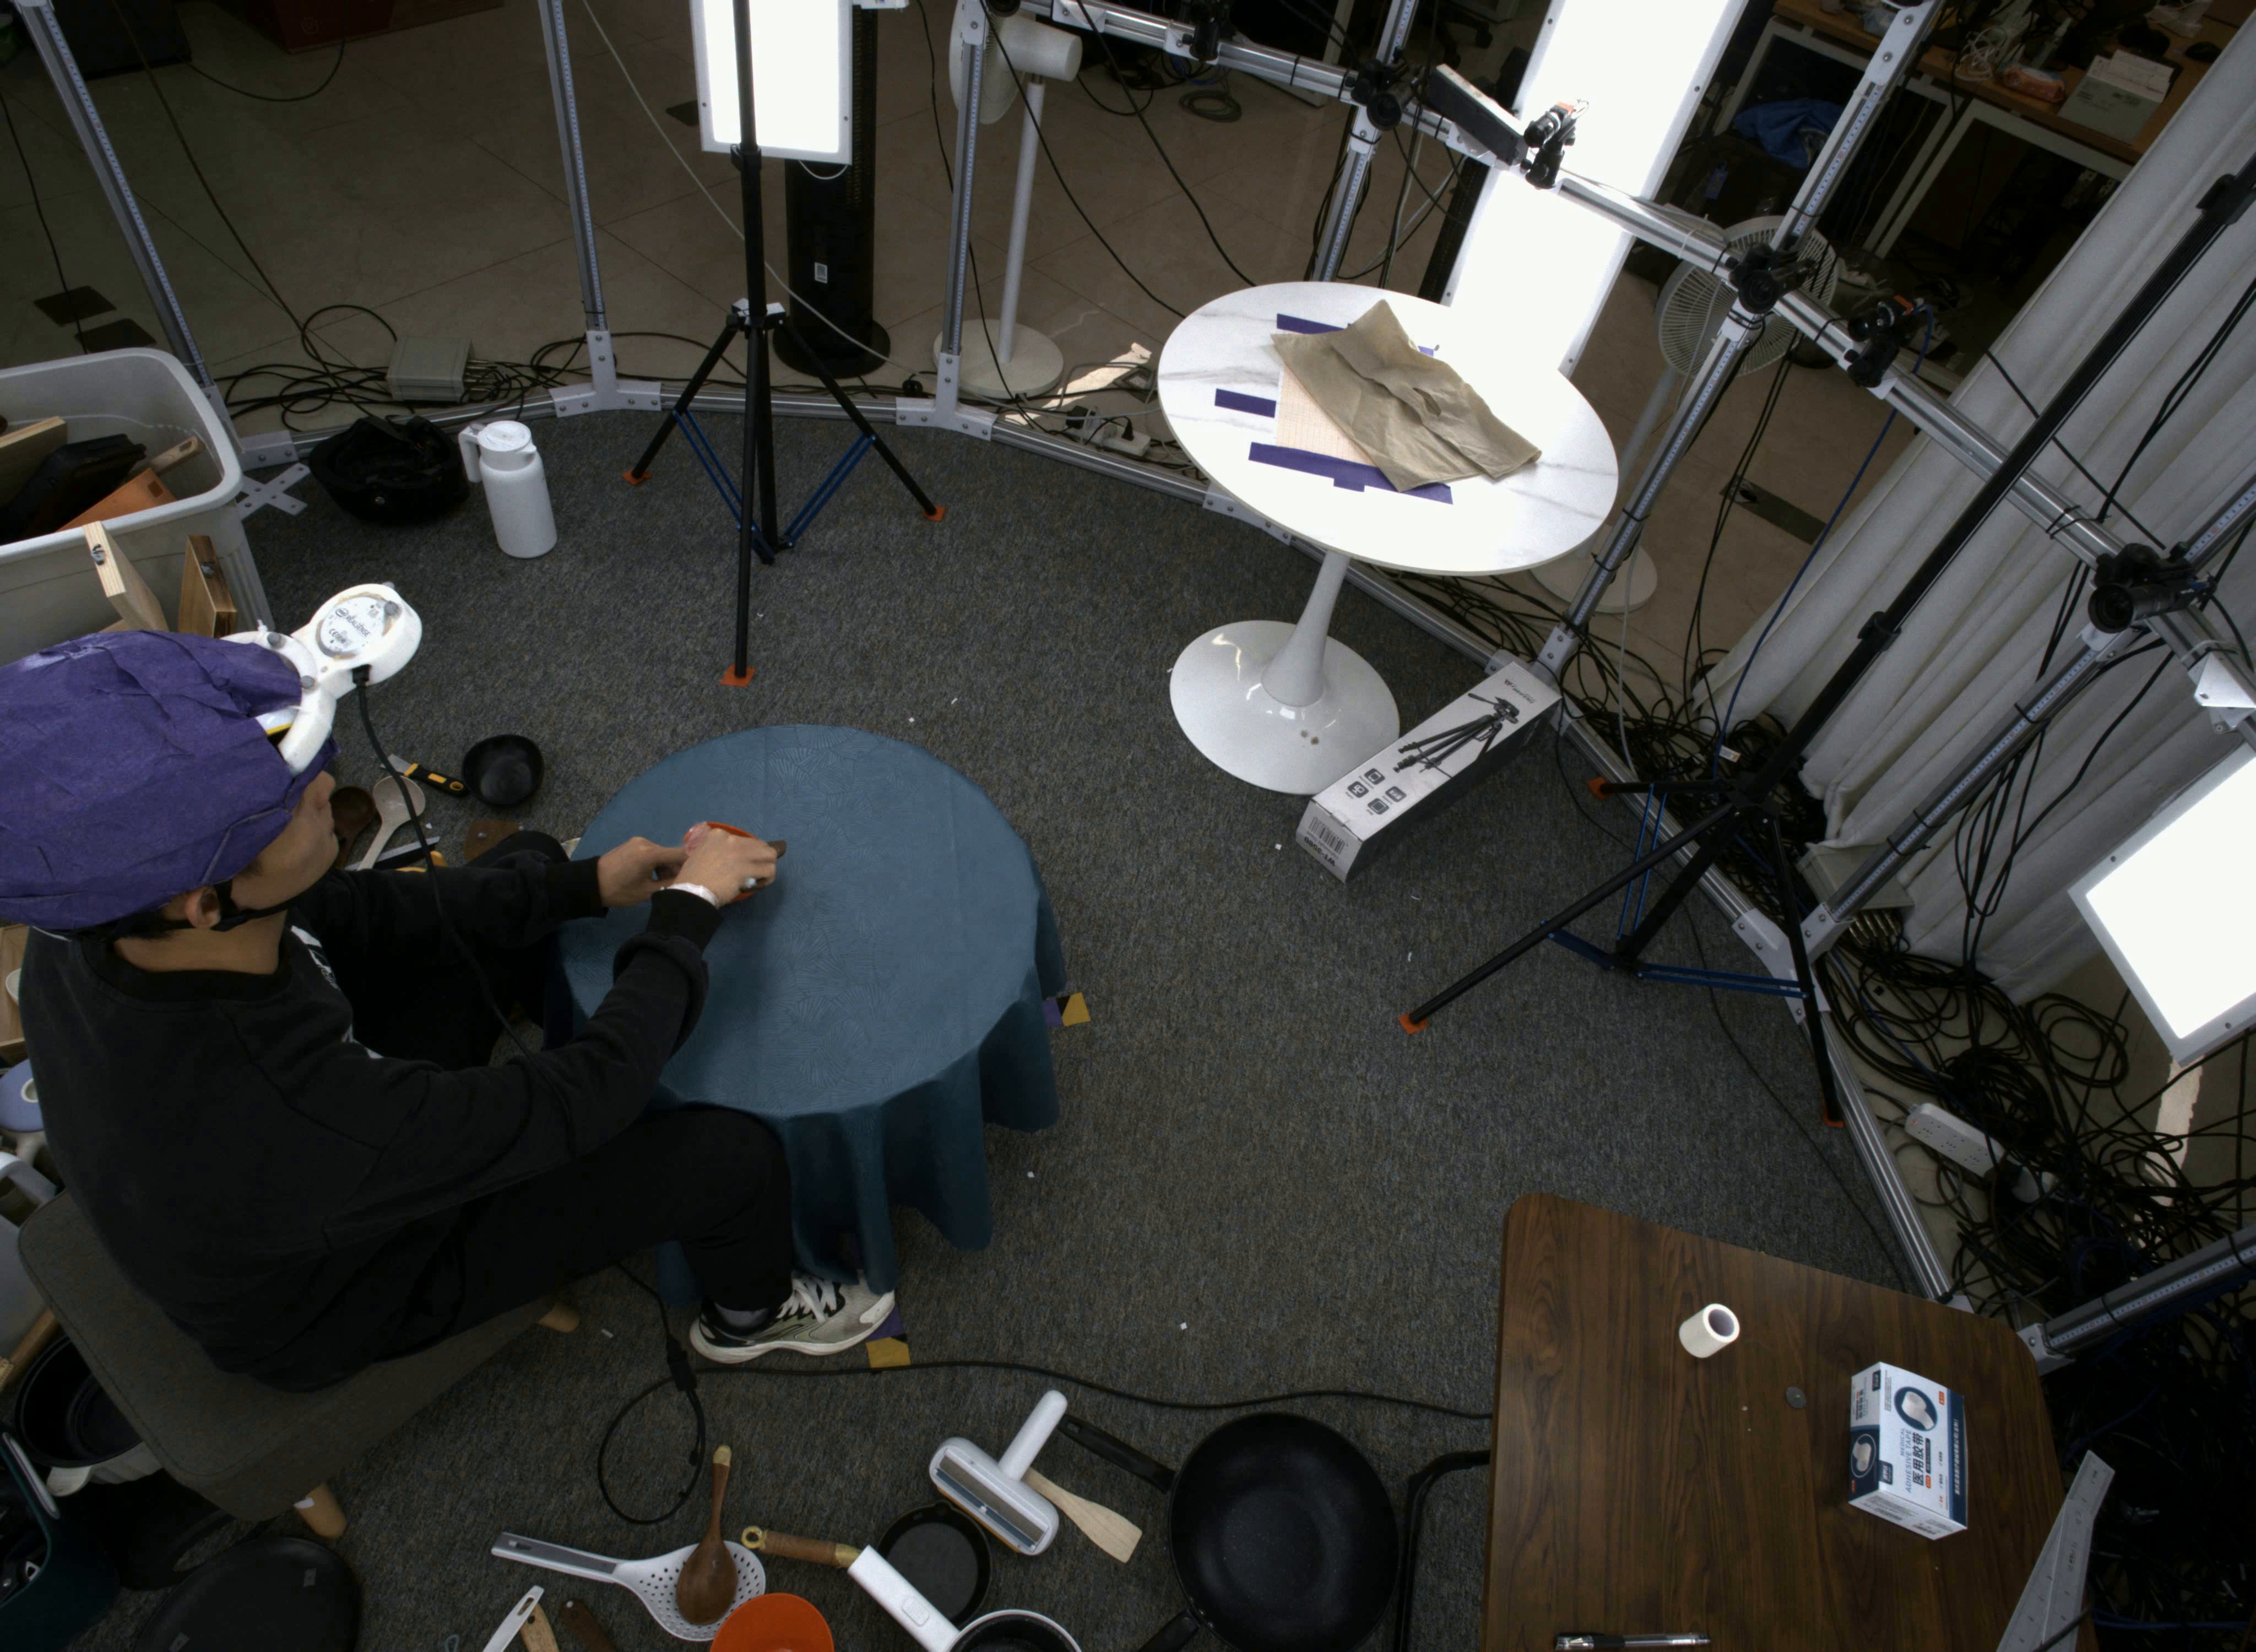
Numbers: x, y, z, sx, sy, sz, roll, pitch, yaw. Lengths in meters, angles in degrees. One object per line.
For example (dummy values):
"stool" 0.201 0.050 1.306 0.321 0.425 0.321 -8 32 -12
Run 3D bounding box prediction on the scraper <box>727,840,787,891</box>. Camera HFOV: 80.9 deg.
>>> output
"scraper" -0.449 0.047 1.553 0.075 0.011 0.206 -11 14 -11

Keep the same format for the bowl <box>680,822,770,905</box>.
"bowl" -0.511 0.053 1.620 0.120 0.052 0.116 25 36 -18
